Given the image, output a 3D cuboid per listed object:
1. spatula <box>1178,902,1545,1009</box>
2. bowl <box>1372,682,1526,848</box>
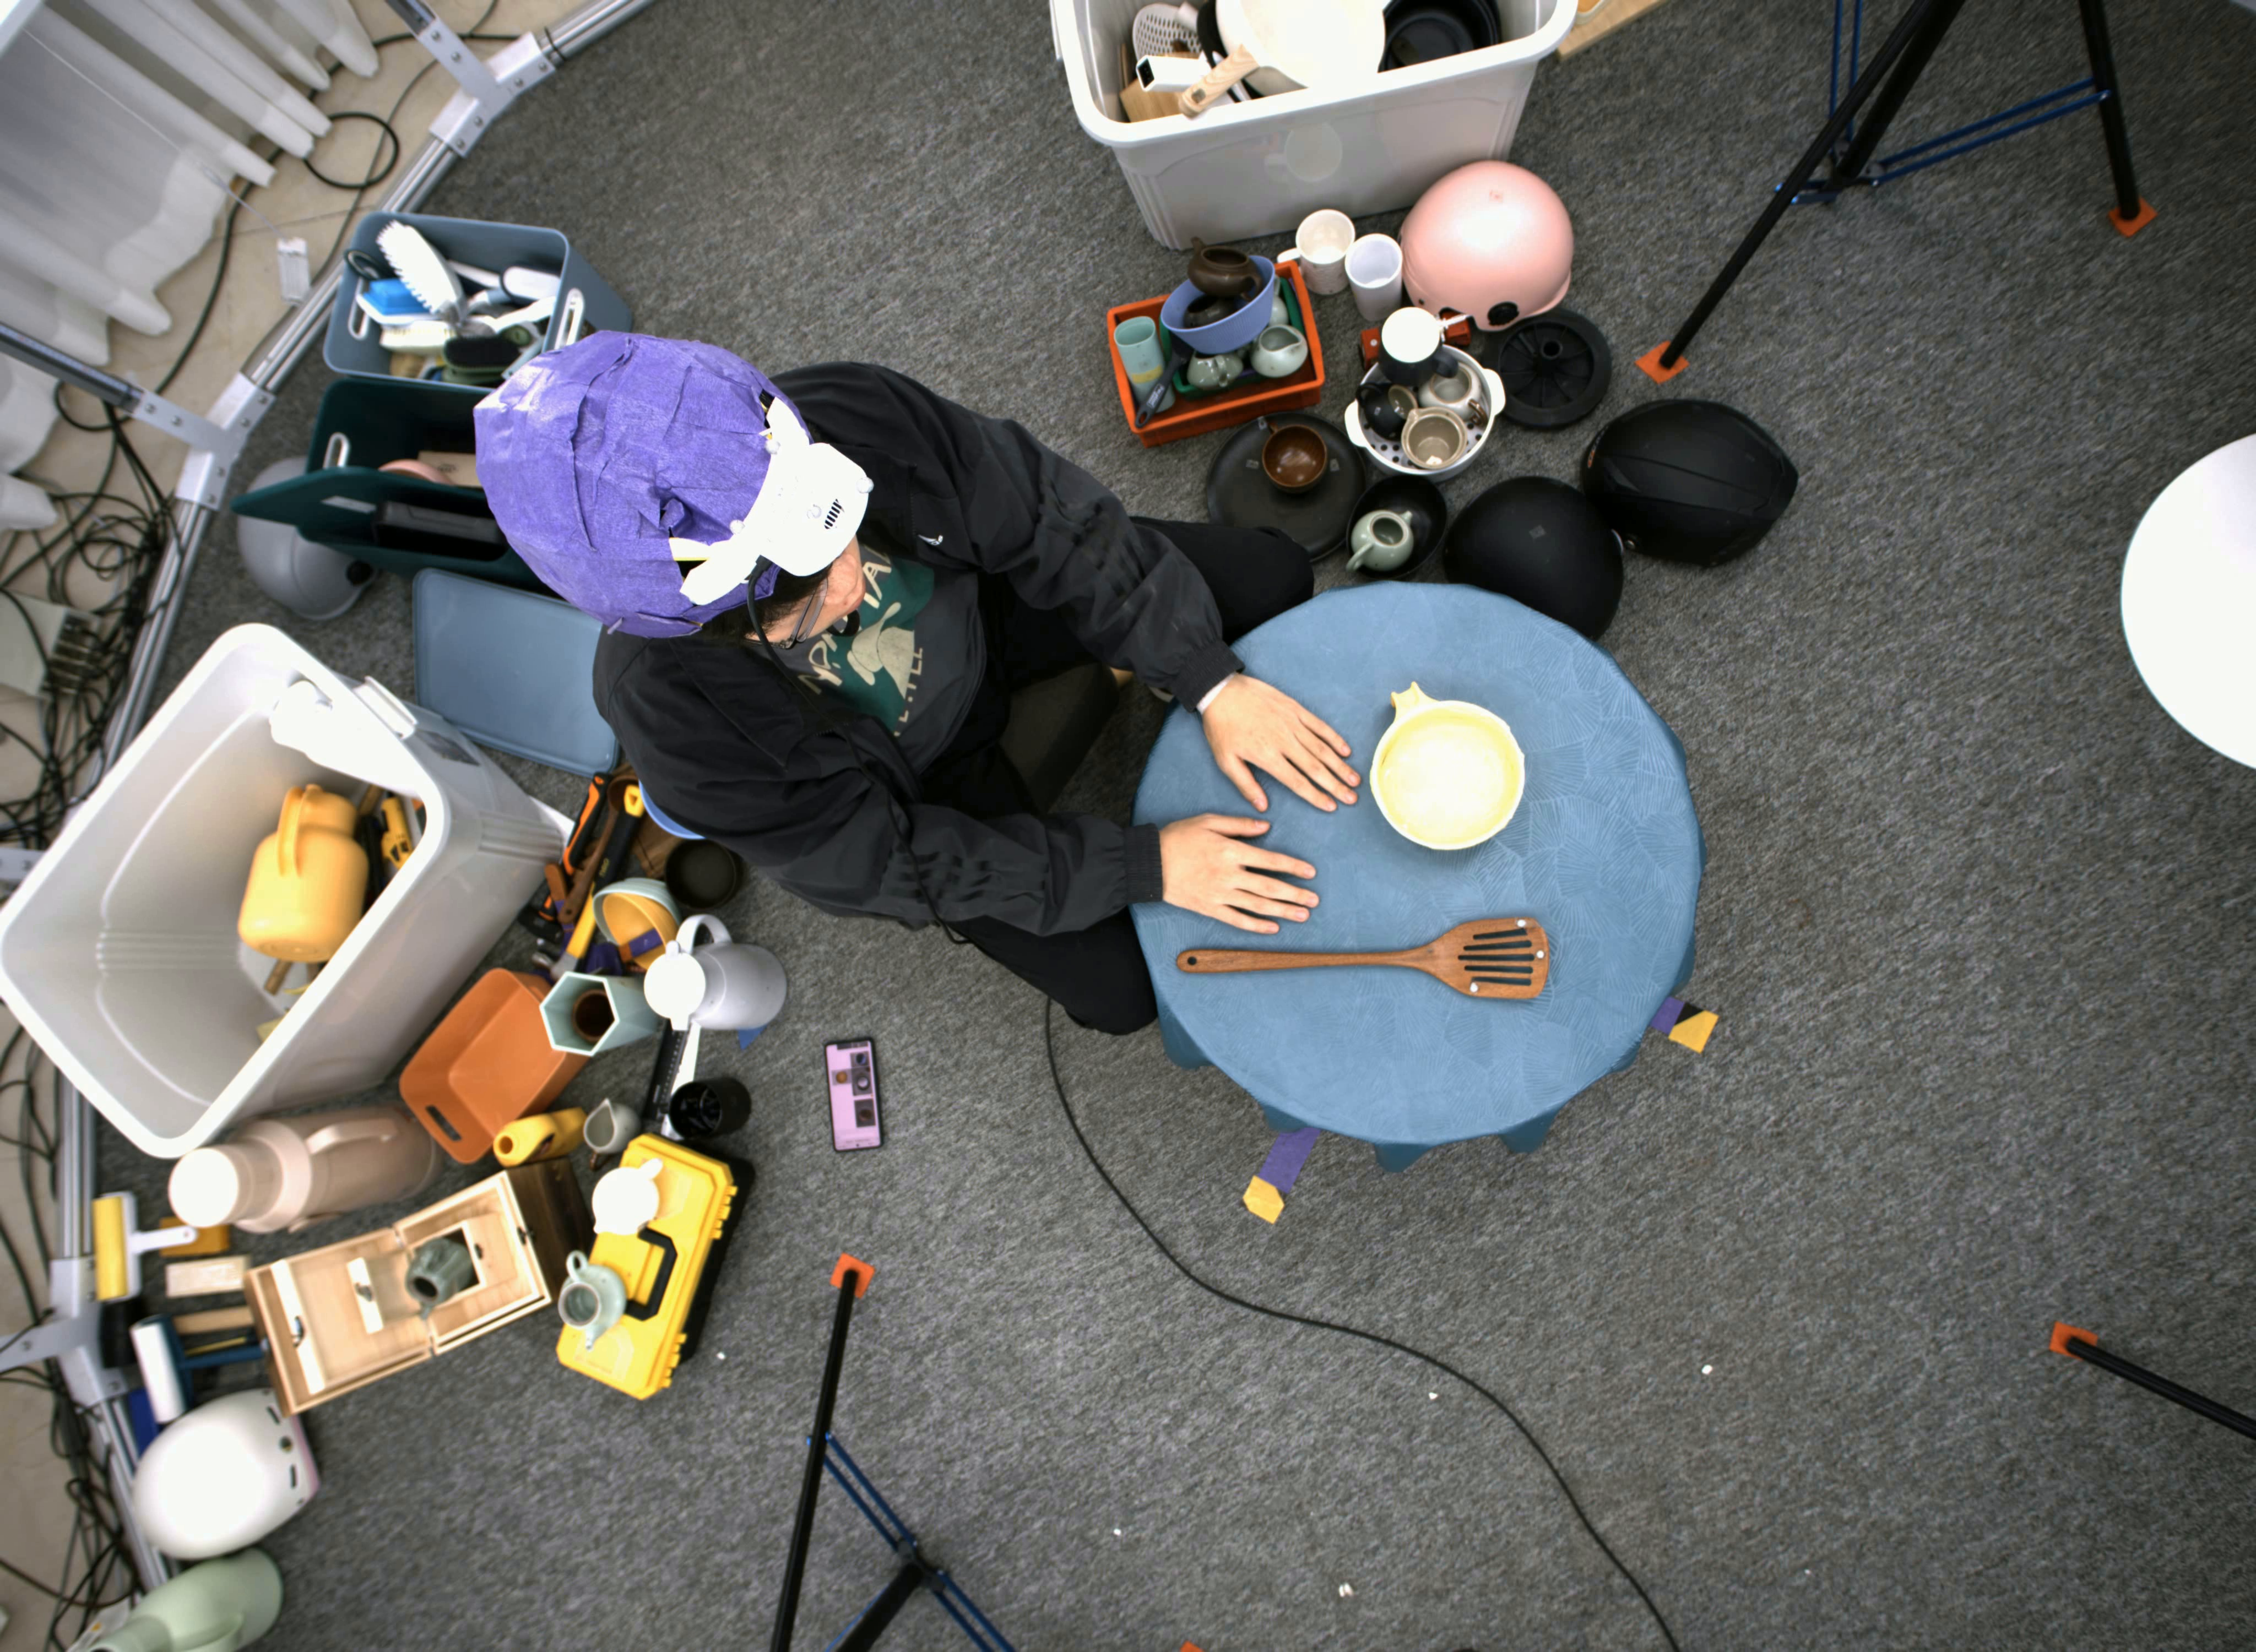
[{"bbox_3d":[0.242,0.151,1.456,0.388,0.024,0.084,-10,76,8],"label":"spatula"},{"bbox_3d":[0.324,-0.065,1.423,0.154,0.074,0.178,-31,82,6],"label":"bowl"}]
